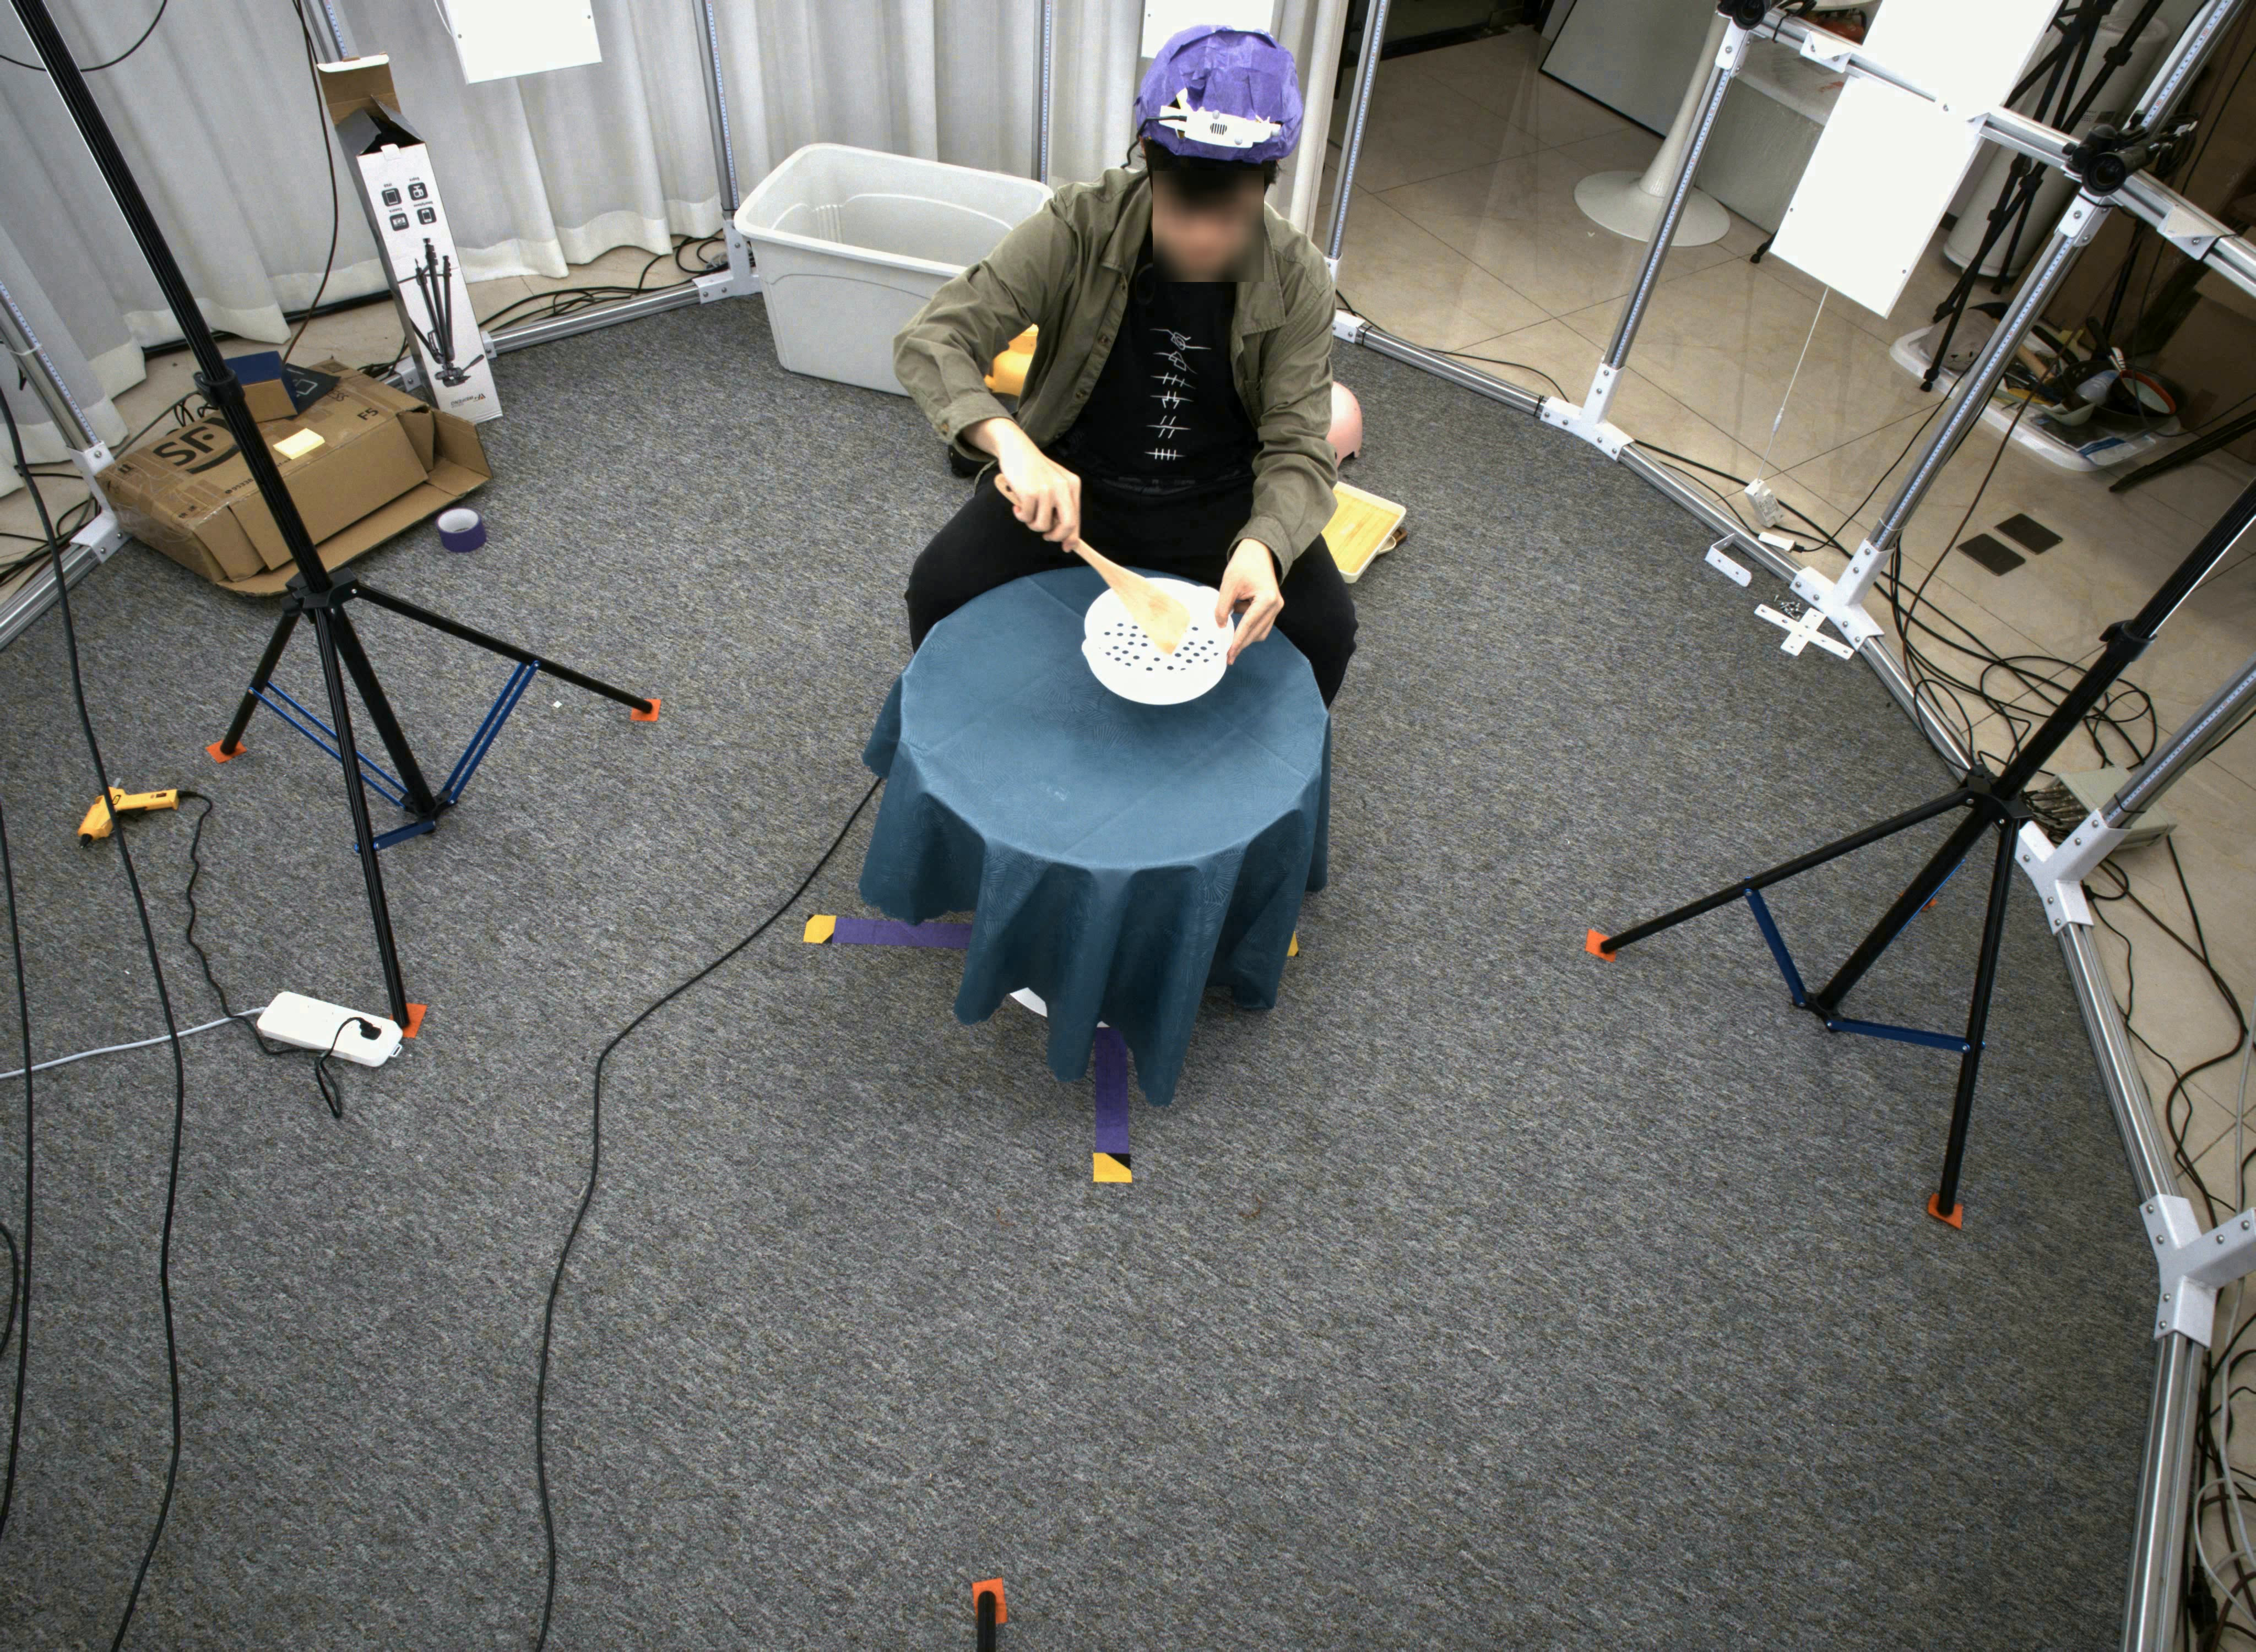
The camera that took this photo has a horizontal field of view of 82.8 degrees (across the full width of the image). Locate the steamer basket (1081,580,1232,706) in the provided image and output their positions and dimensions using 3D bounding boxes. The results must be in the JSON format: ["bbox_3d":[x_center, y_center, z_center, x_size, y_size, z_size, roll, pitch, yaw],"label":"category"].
[{"bbox_3d":[0.038,-0.248,1.747,0.232,0.067,0.205,-27,55,-27],"label":"steamer basket"}]

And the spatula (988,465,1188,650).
[{"bbox_3d":[-0.054,-0.360,1.689,0.326,0.079,0.017,39,43,-5],"label":"spatula"}]
